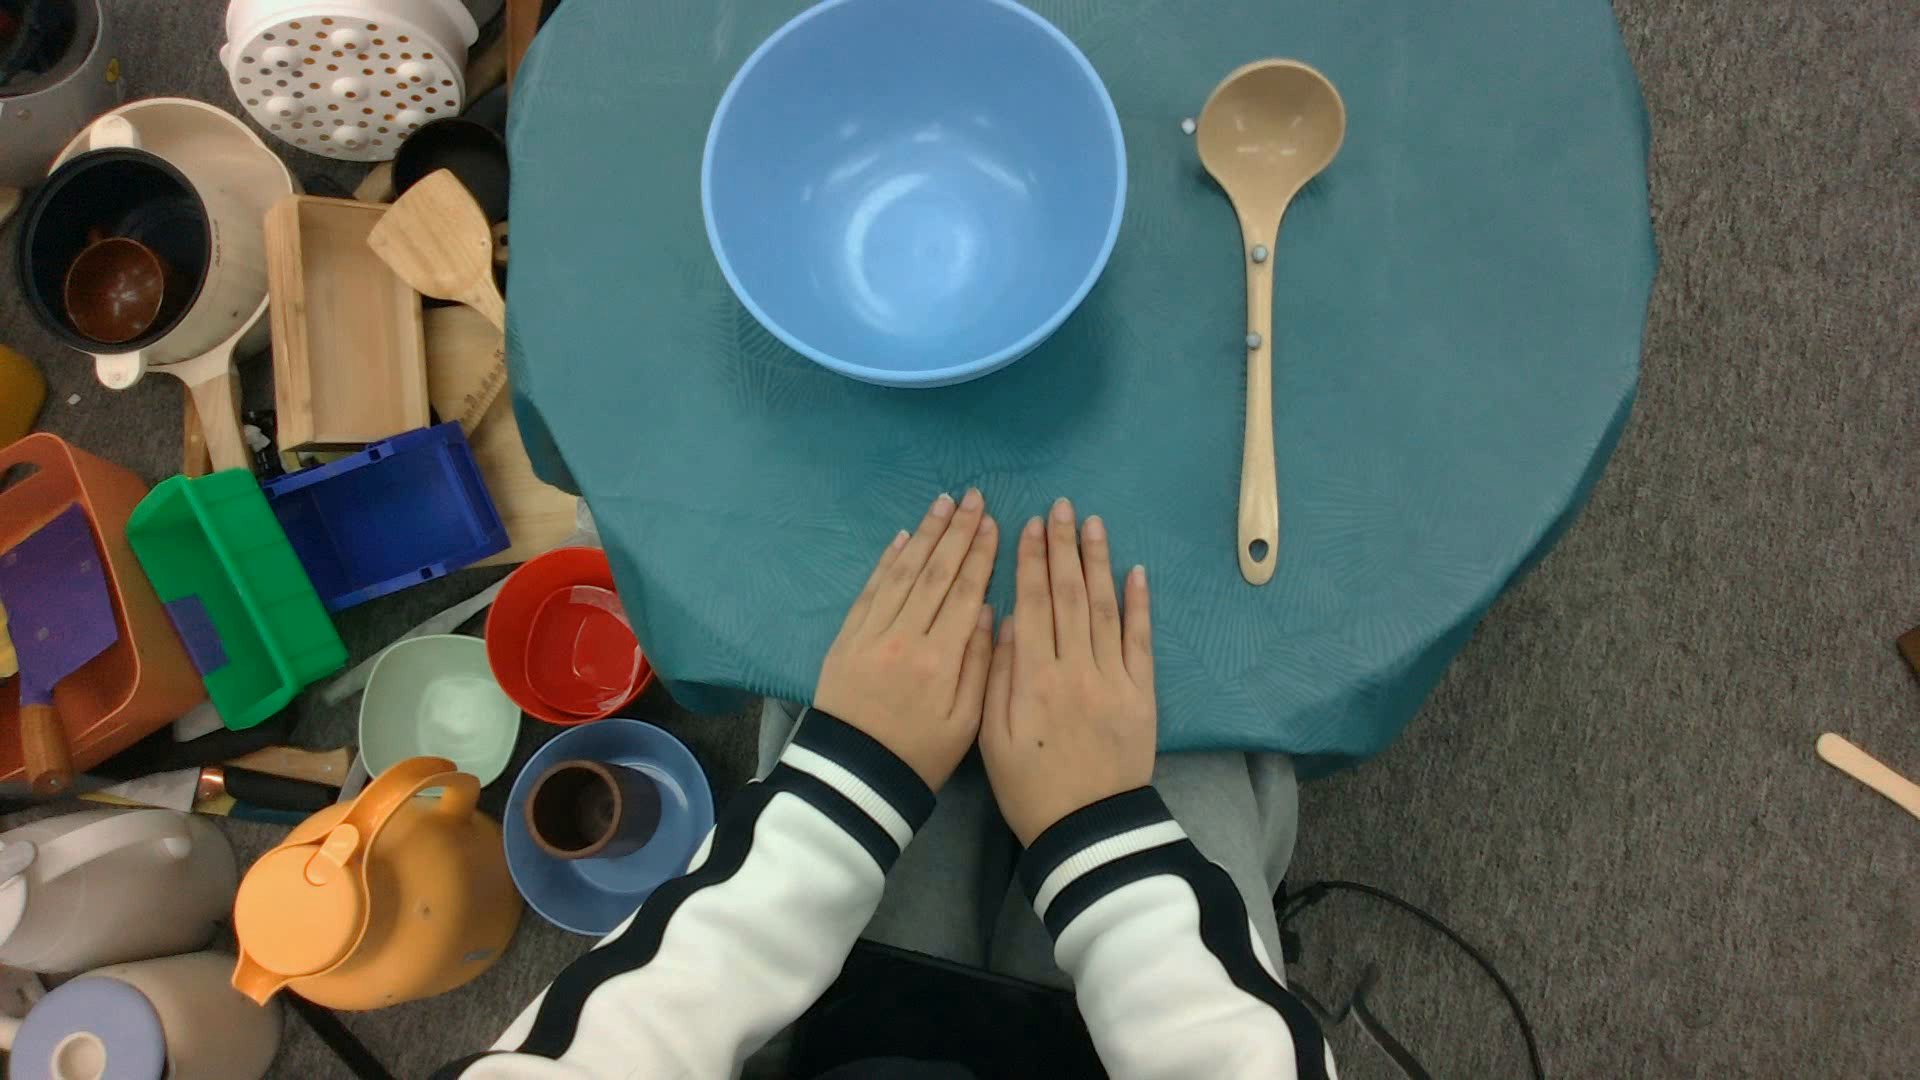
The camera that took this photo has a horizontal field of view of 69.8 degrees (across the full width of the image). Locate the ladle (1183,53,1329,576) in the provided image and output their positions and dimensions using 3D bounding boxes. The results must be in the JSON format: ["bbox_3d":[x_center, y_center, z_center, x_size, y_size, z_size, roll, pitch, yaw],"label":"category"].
[{"bbox_3d":[0.148,-0.113,0.673,0.072,0.072,0.255,0,78,4],"label":"ladle"}]

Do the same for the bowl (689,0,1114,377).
[{"bbox_3d":[-0.025,-0.162,0.677,0.196,0.095,0.197,0,76,2],"label":"bowl"}]
